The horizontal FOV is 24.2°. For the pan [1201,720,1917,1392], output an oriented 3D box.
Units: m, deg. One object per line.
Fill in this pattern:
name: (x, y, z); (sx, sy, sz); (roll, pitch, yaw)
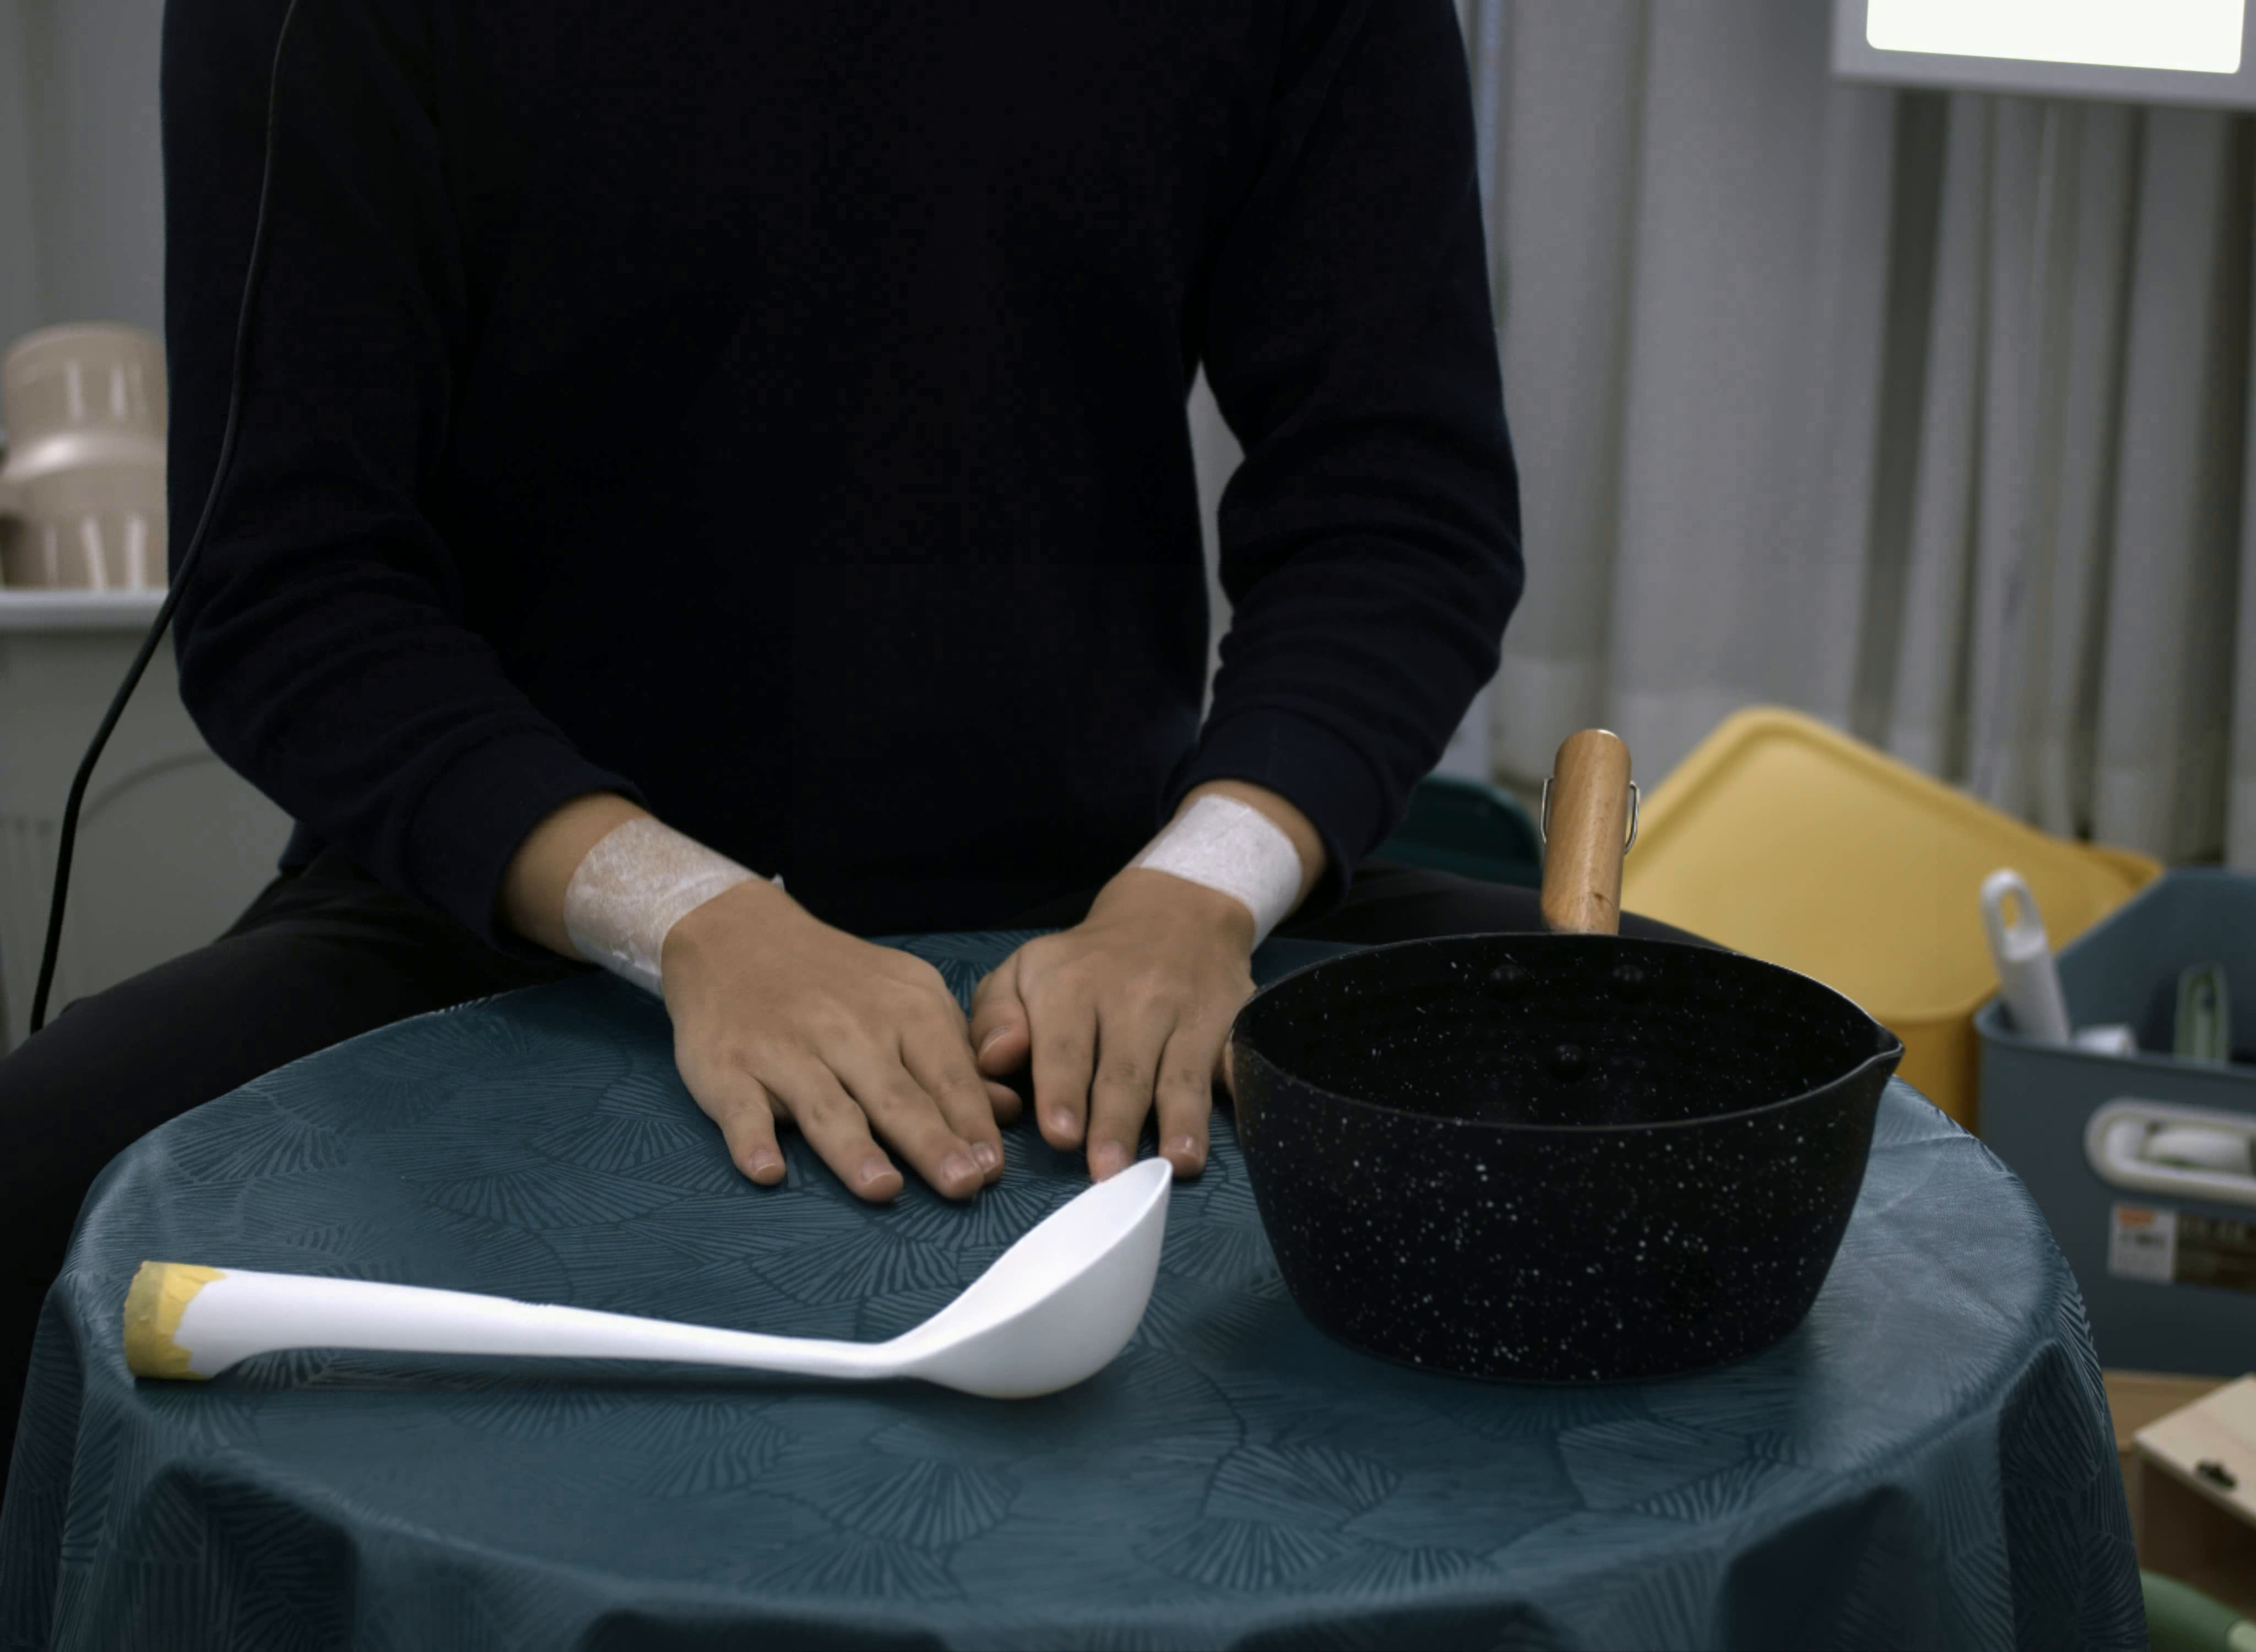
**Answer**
pan: (0.131, 0.064, 1.598); (0.206, 0.109, 0.341); (1, 17, 6)

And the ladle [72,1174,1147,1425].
ladle: (-0.141, 0.129, 1.439); (0.292, 0.070, 0.090); (1, 1, -1)
